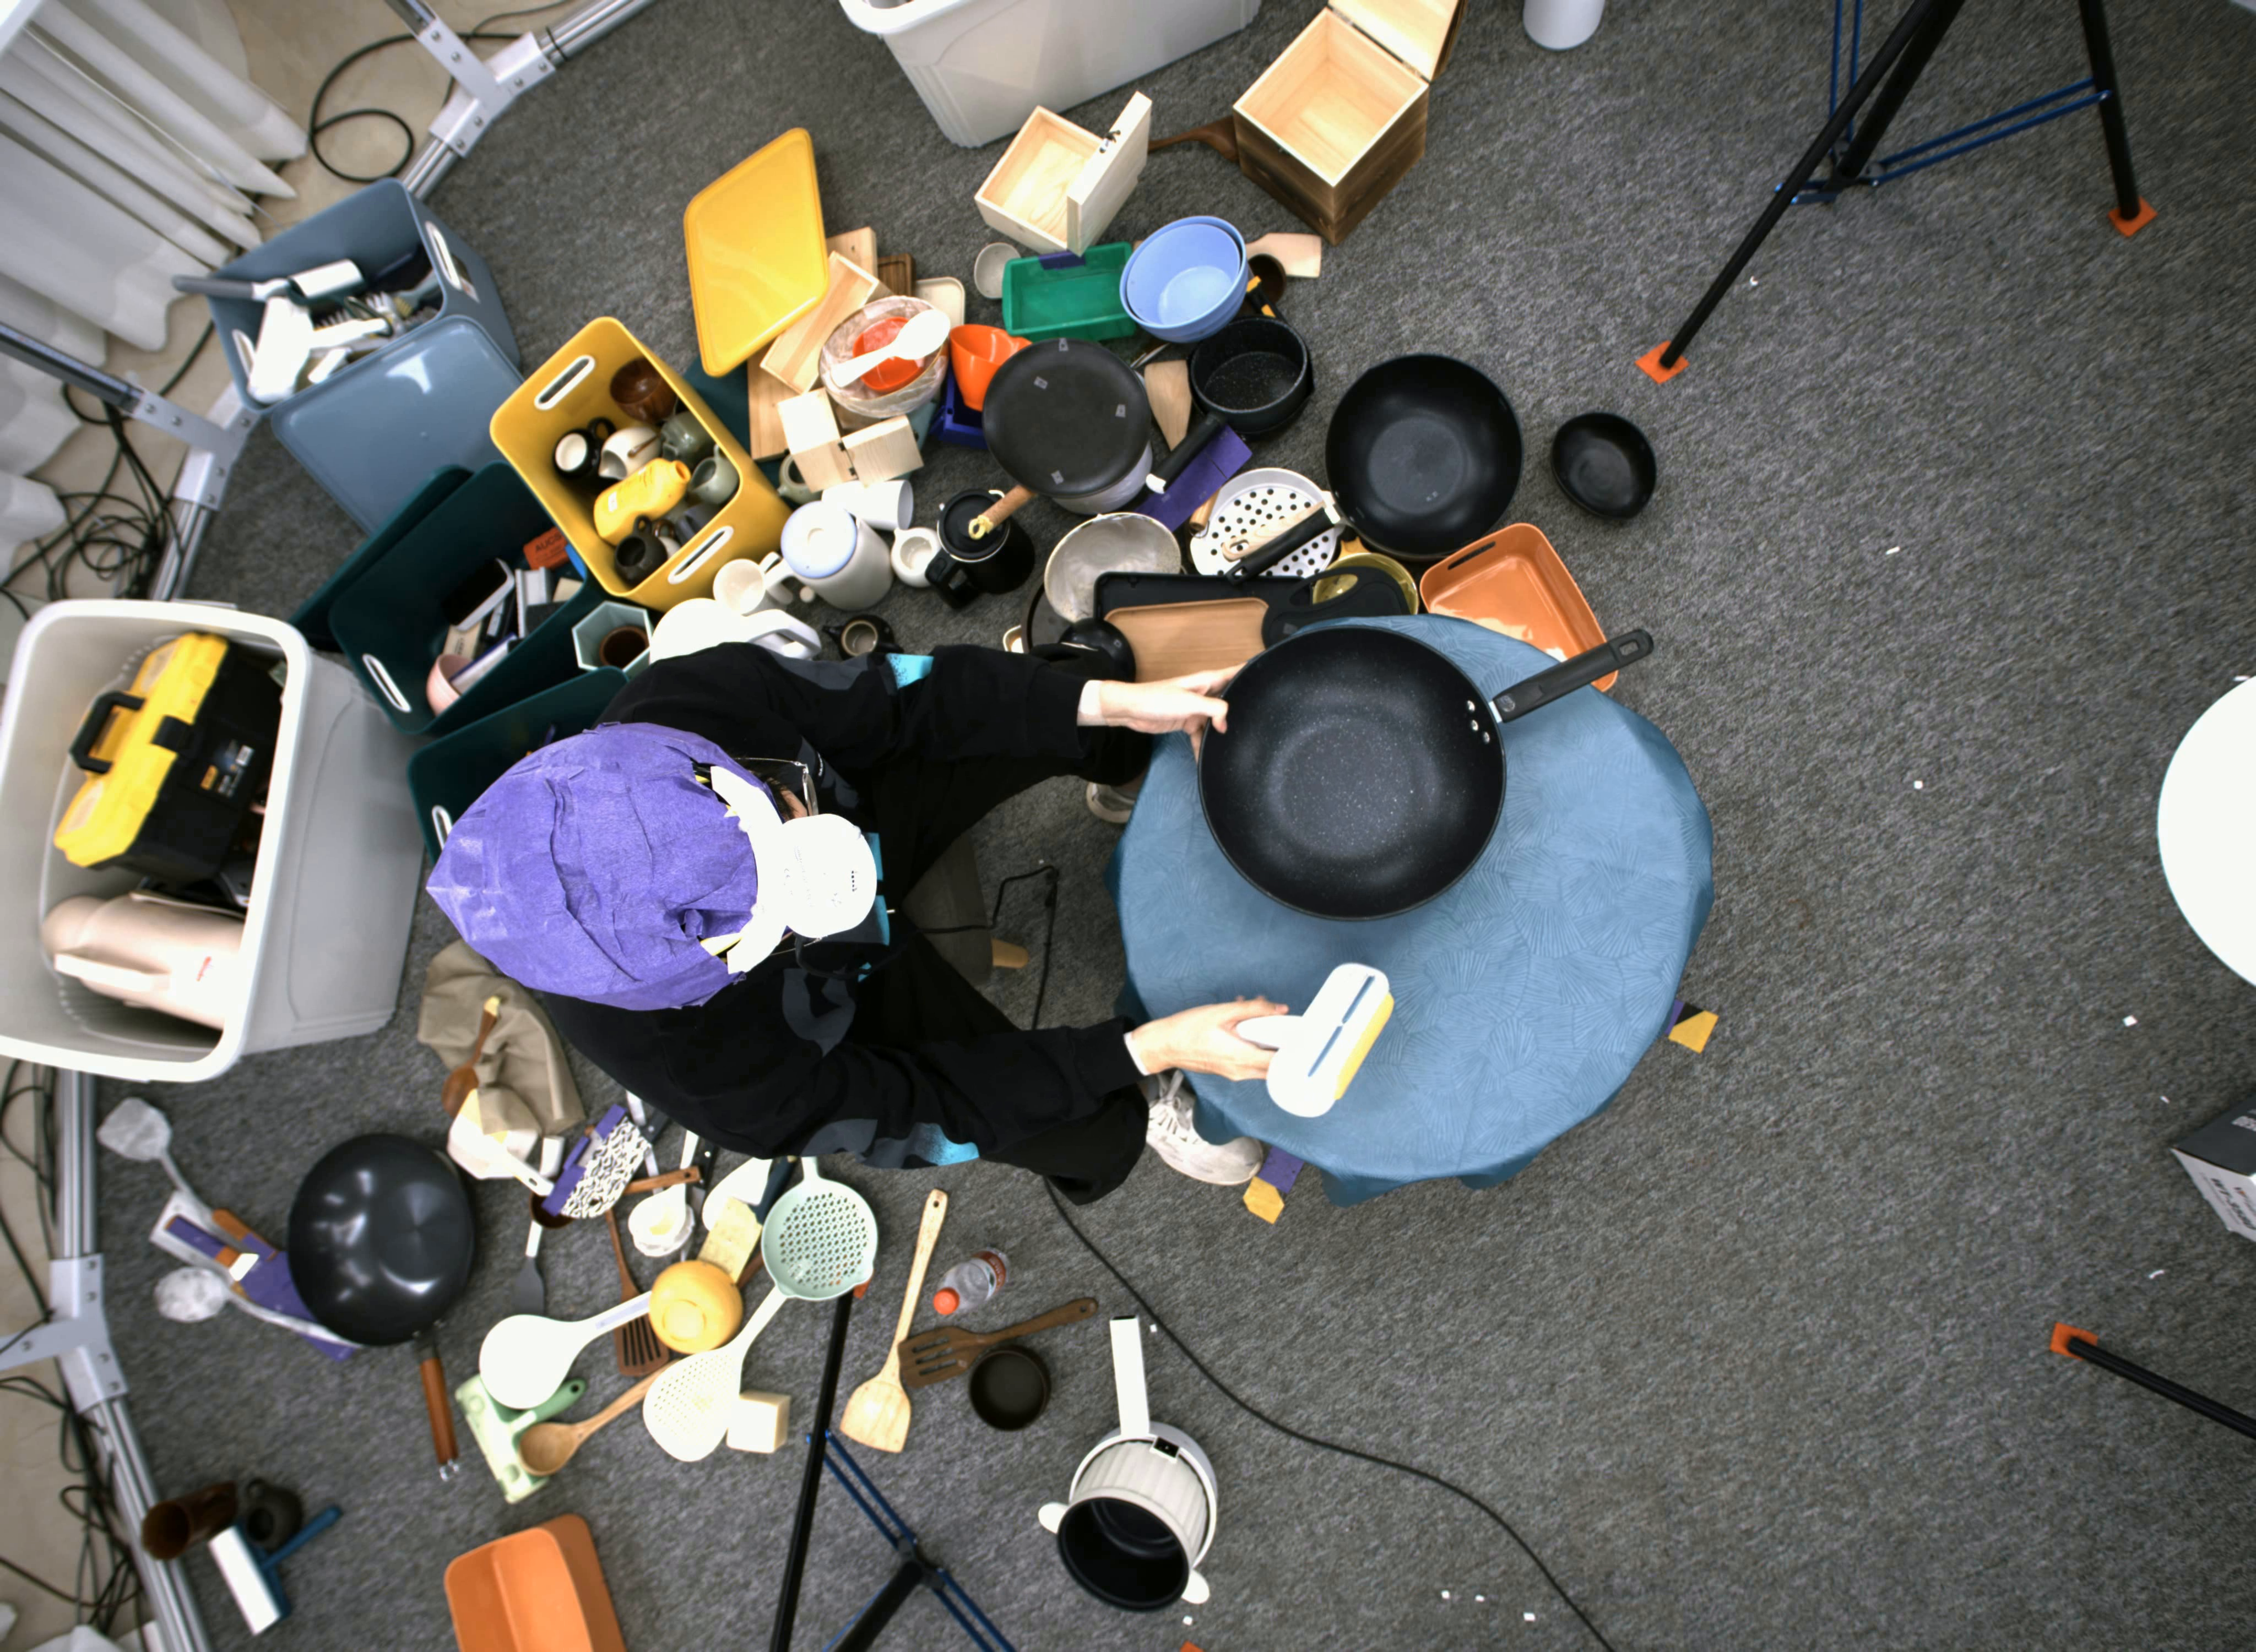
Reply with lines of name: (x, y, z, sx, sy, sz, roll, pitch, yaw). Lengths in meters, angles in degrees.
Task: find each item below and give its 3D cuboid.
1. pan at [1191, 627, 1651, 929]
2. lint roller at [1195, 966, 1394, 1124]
pan: (0.298, -0.081, 1.403, 0.478, 0.112, 0.308, -23, 82, 5)
lint roller: (0.150, 0.205, 1.385, 0.193, 0.076, 0.188, 12, 45, 32)
